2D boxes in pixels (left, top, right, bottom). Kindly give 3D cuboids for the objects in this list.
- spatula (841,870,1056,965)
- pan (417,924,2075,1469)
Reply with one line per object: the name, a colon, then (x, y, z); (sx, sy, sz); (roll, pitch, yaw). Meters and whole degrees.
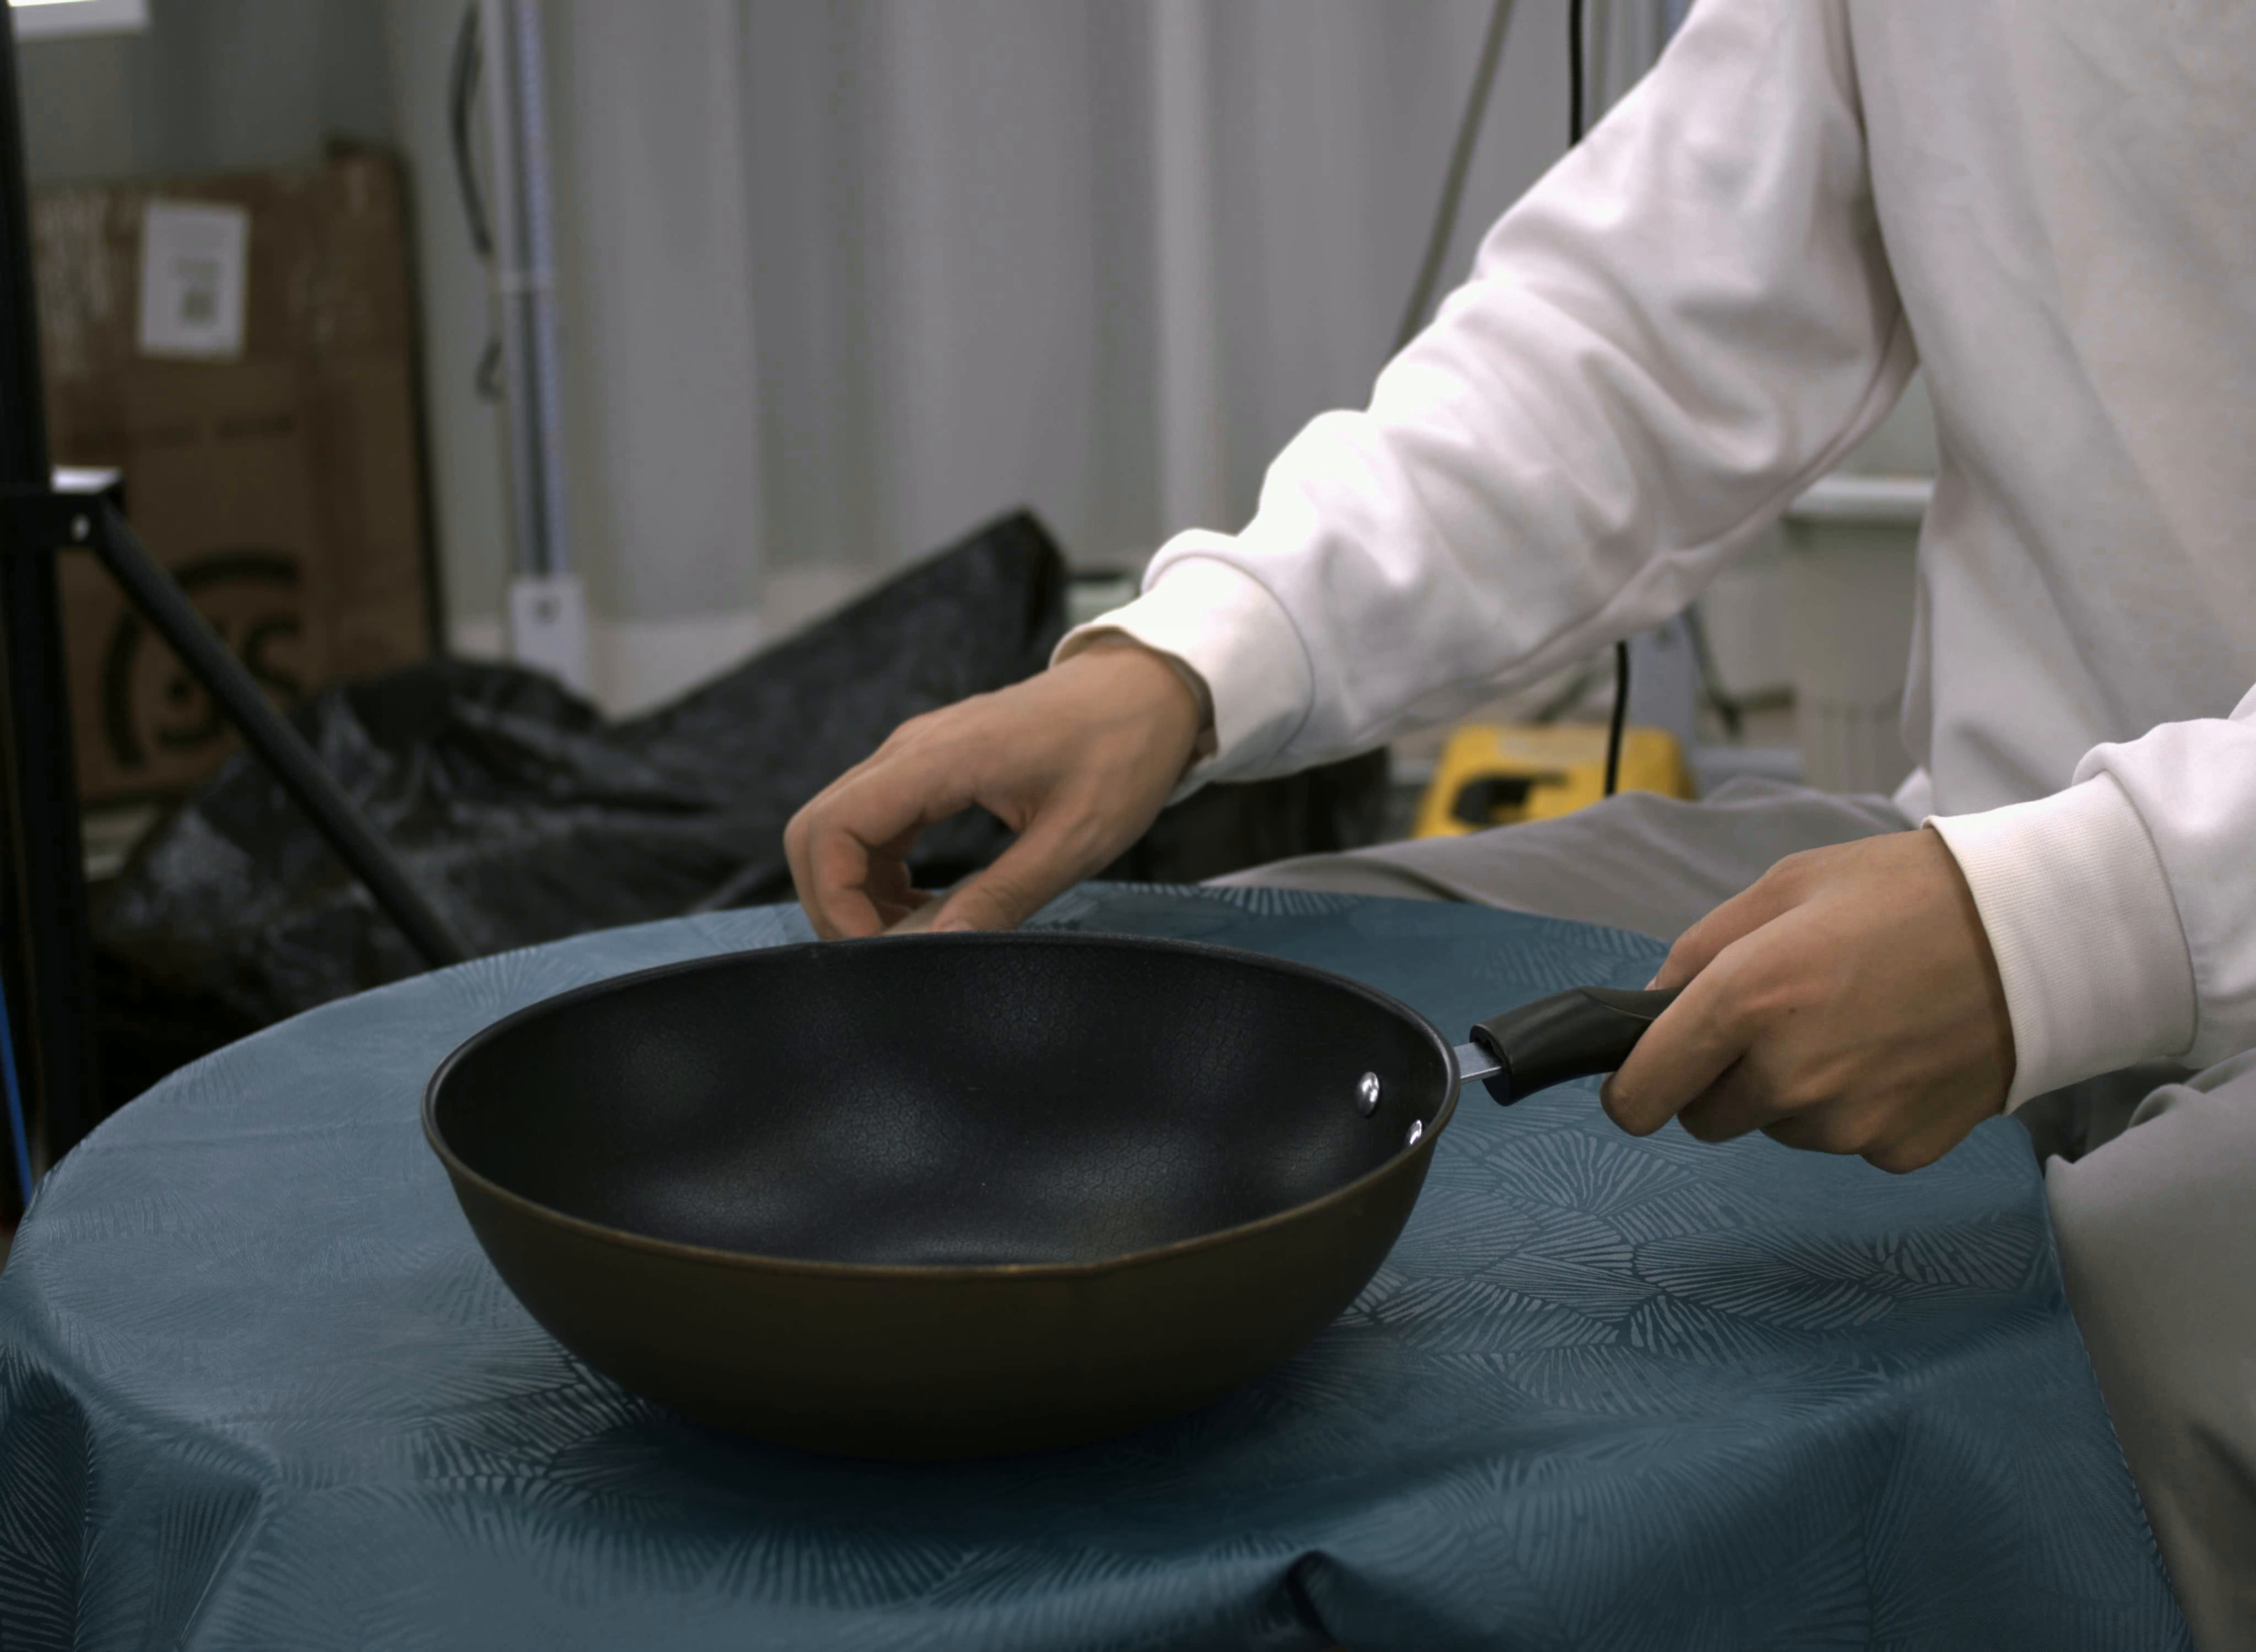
spatula: (-0.103, 0.062, 1.706); (0.073, 0.010, 0.288); (7, 21, 28)
pan: (0.038, 0.096, 1.445); (0.456, 0.087, 0.292); (-5, 17, -13)
